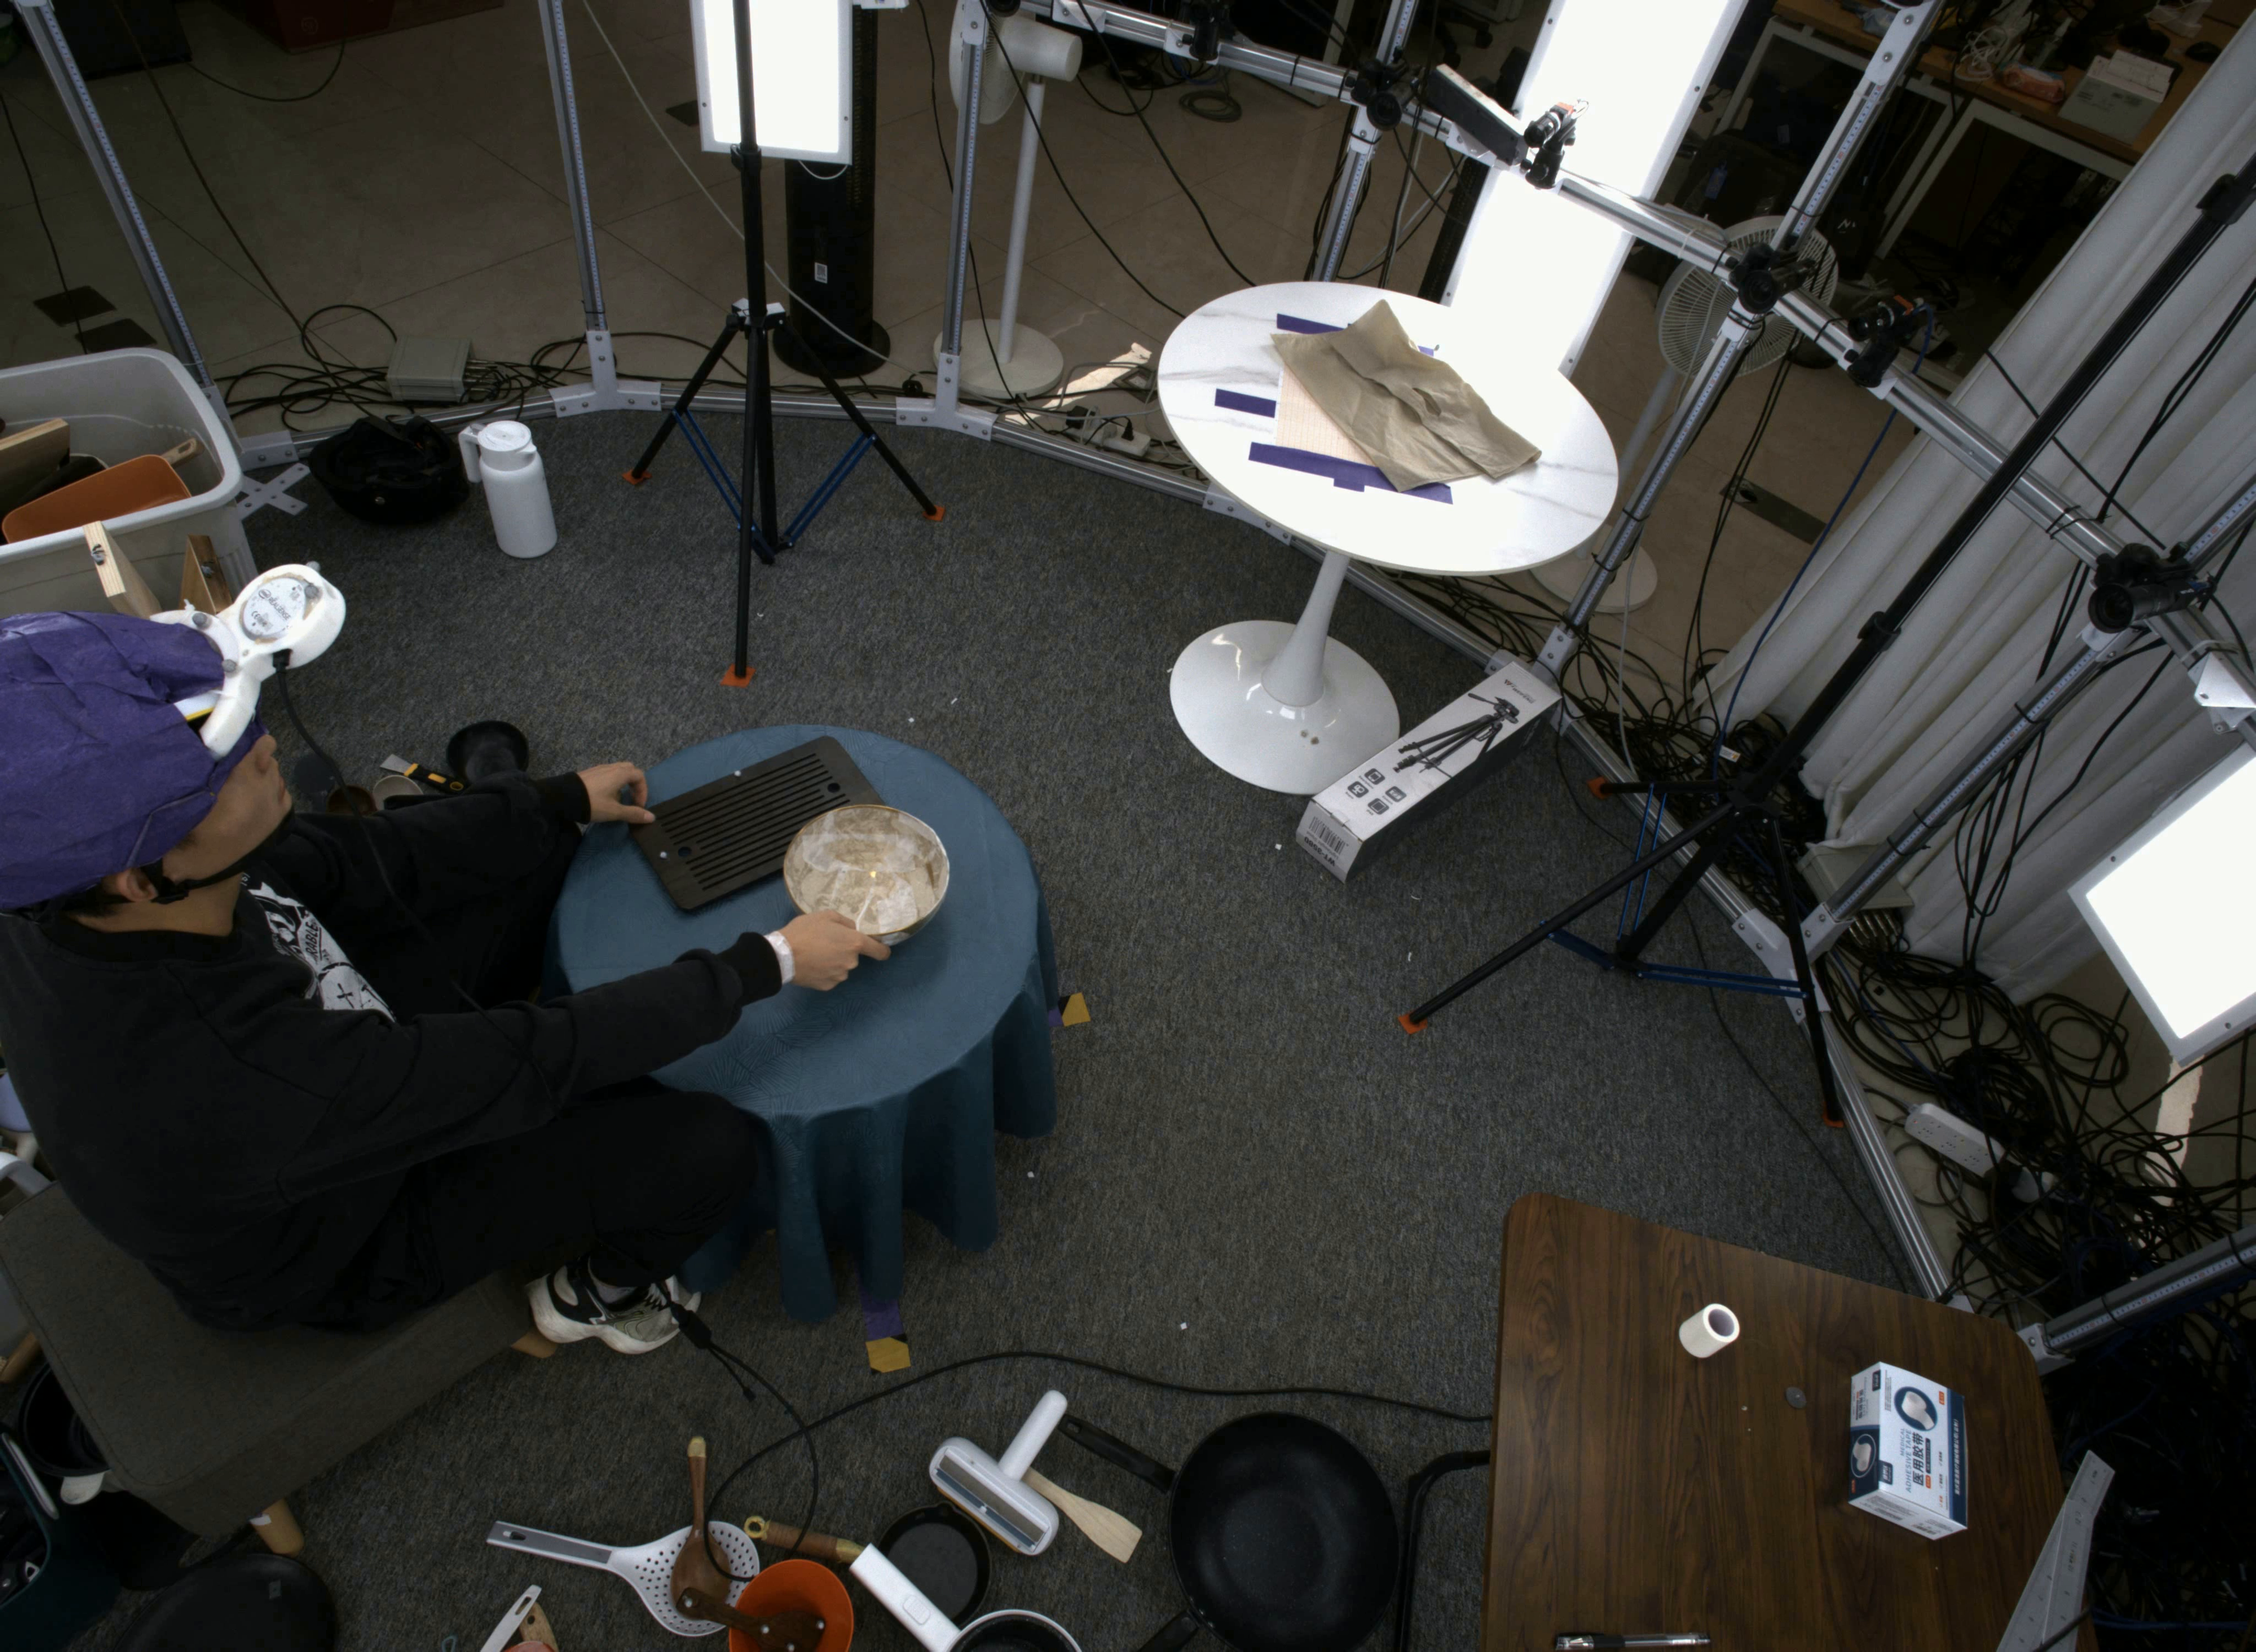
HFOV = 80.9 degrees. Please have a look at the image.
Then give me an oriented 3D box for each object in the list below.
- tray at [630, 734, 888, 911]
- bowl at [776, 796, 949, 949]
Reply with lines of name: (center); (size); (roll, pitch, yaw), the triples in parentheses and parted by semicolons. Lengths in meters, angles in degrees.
tray: (-0.485, -0.009, 1.709); (0.307, 0.019, 0.166); (-27, 65, -30)
bowl: (-0.334, 0.074, 1.637); (0.214, 0.096, 0.211); (8, 53, -10)
